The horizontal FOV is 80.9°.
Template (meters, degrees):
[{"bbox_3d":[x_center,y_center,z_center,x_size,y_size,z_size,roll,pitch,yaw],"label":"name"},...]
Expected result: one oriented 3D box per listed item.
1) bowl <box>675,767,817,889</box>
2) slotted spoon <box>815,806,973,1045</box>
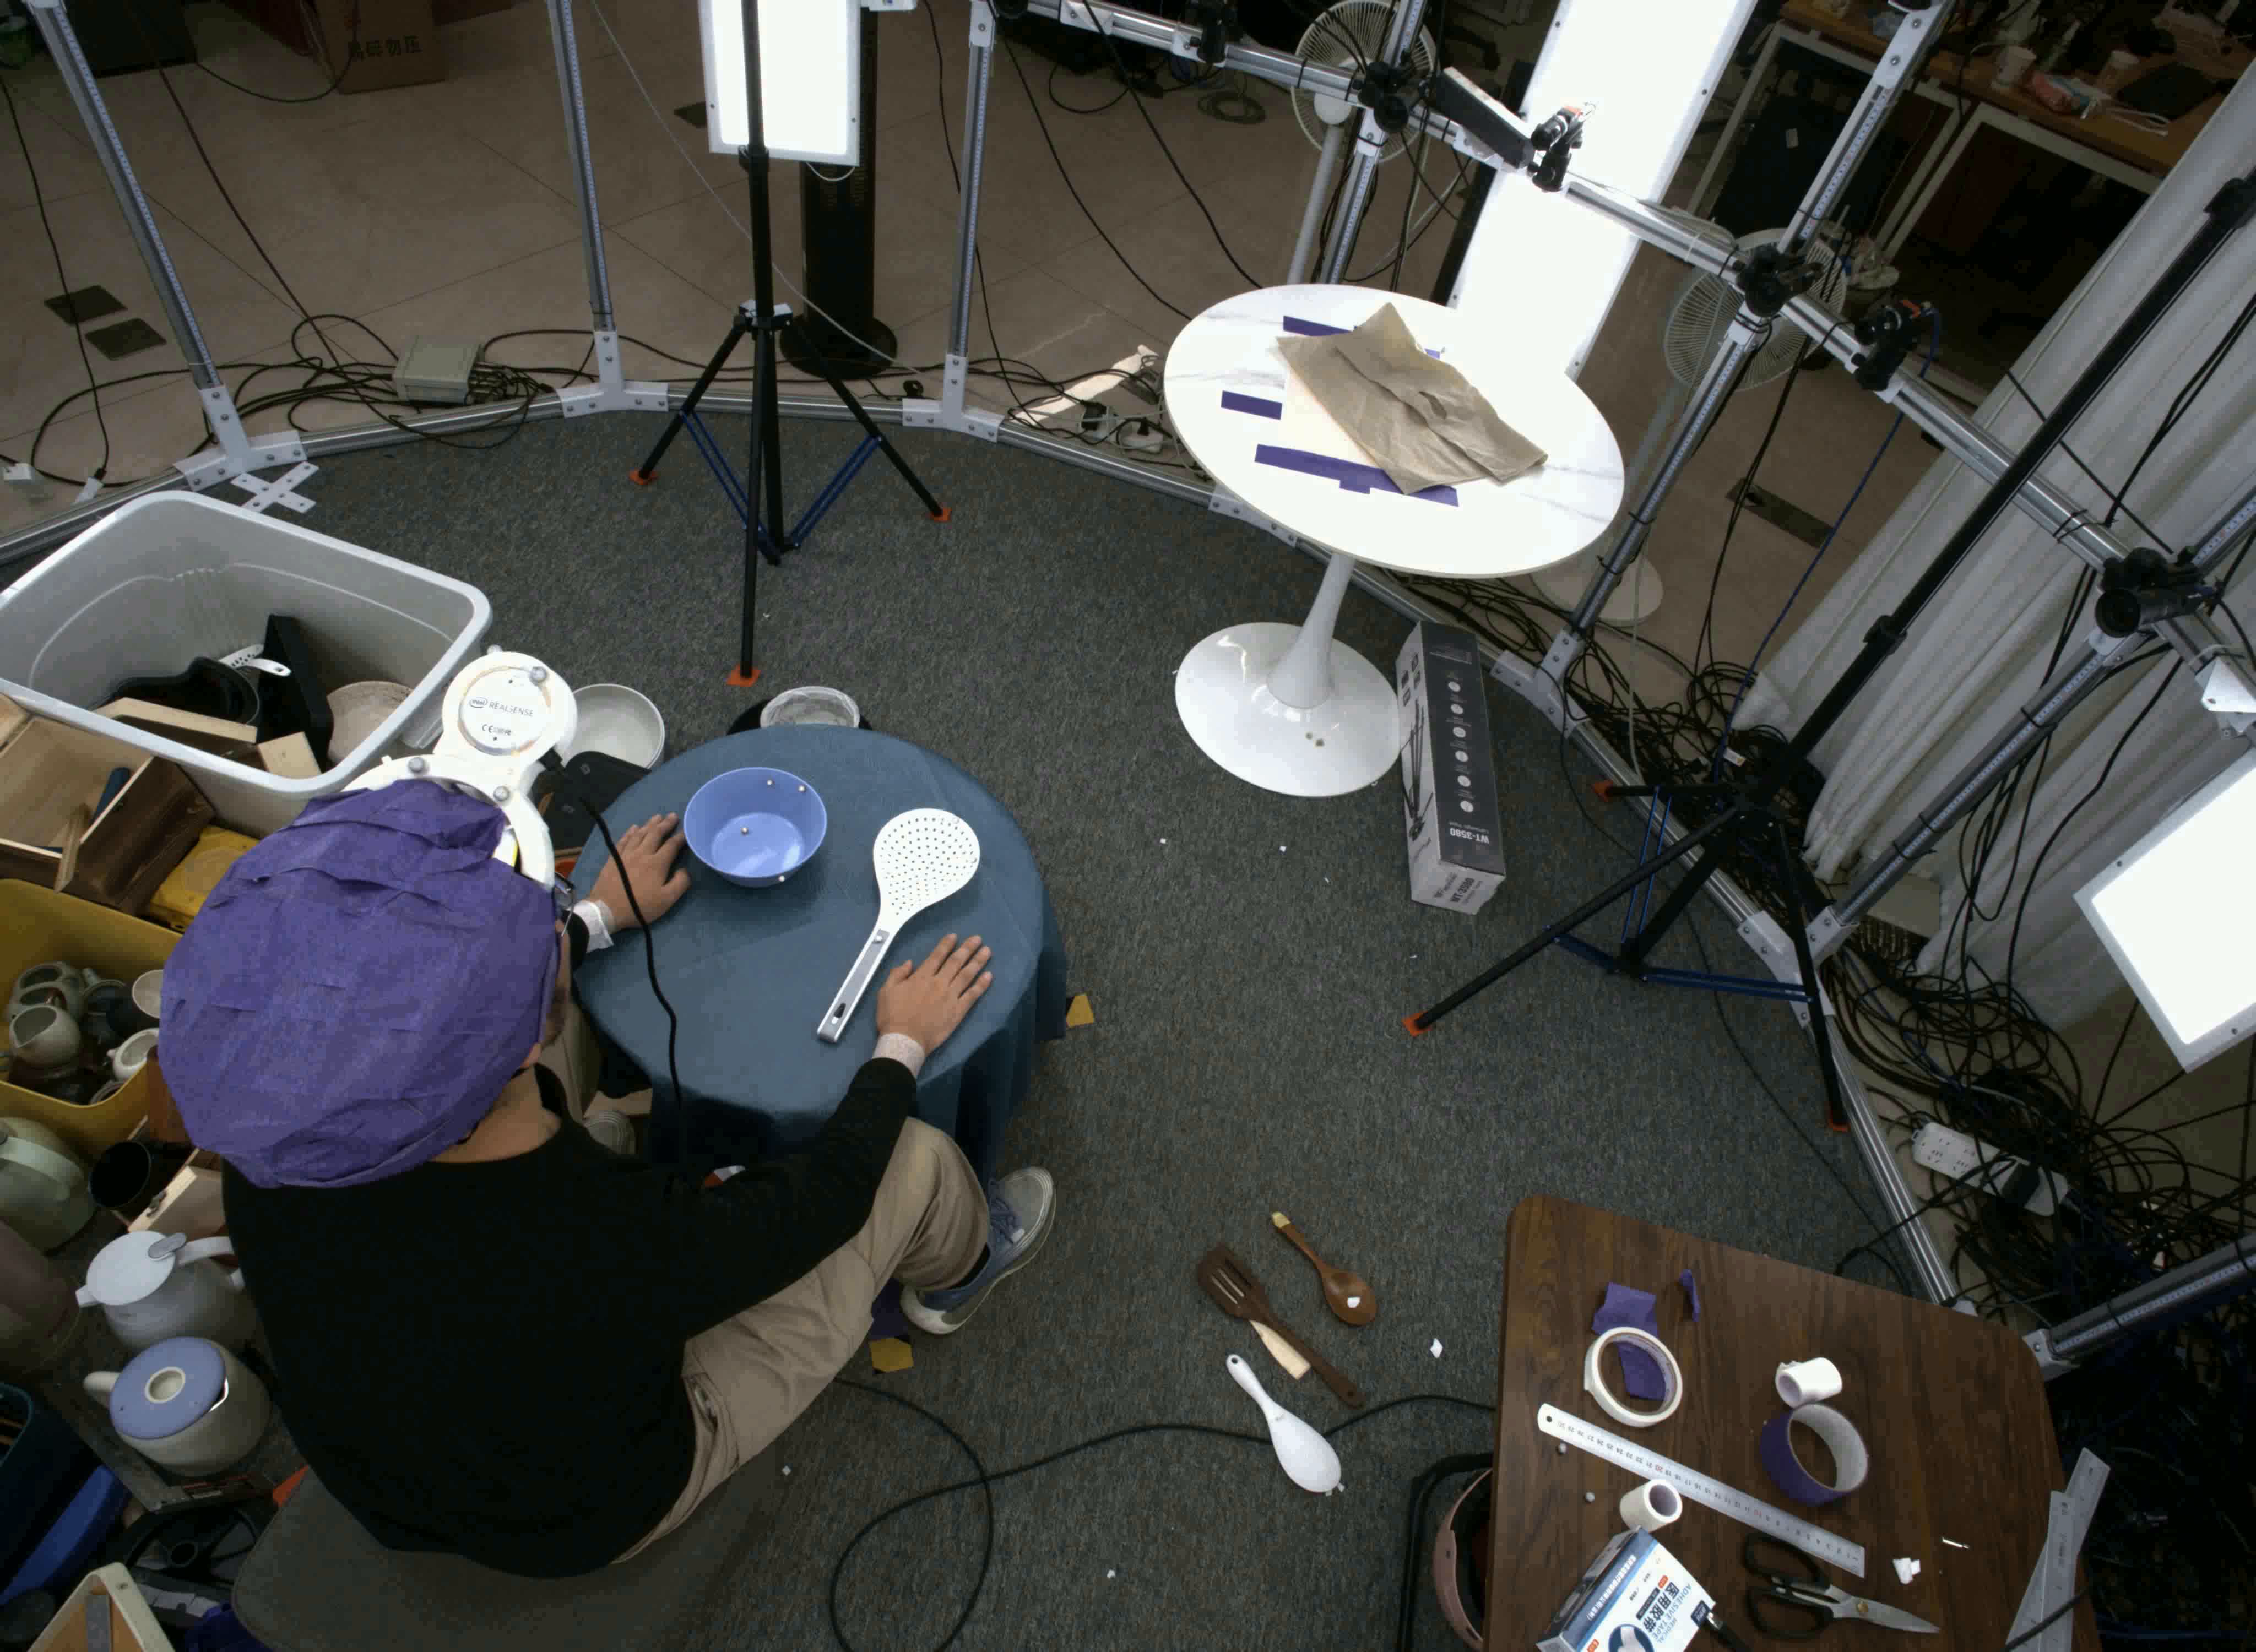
[{"bbox_3d":[-0.484,0.012,1.648,0.175,0.072,0.173,7,53,-8],"label":"bowl"},{"bbox_3d":[-0.304,0.118,1.633,0.134,0.046,0.346,21,53,2],"label":"slotted spoon"}]
